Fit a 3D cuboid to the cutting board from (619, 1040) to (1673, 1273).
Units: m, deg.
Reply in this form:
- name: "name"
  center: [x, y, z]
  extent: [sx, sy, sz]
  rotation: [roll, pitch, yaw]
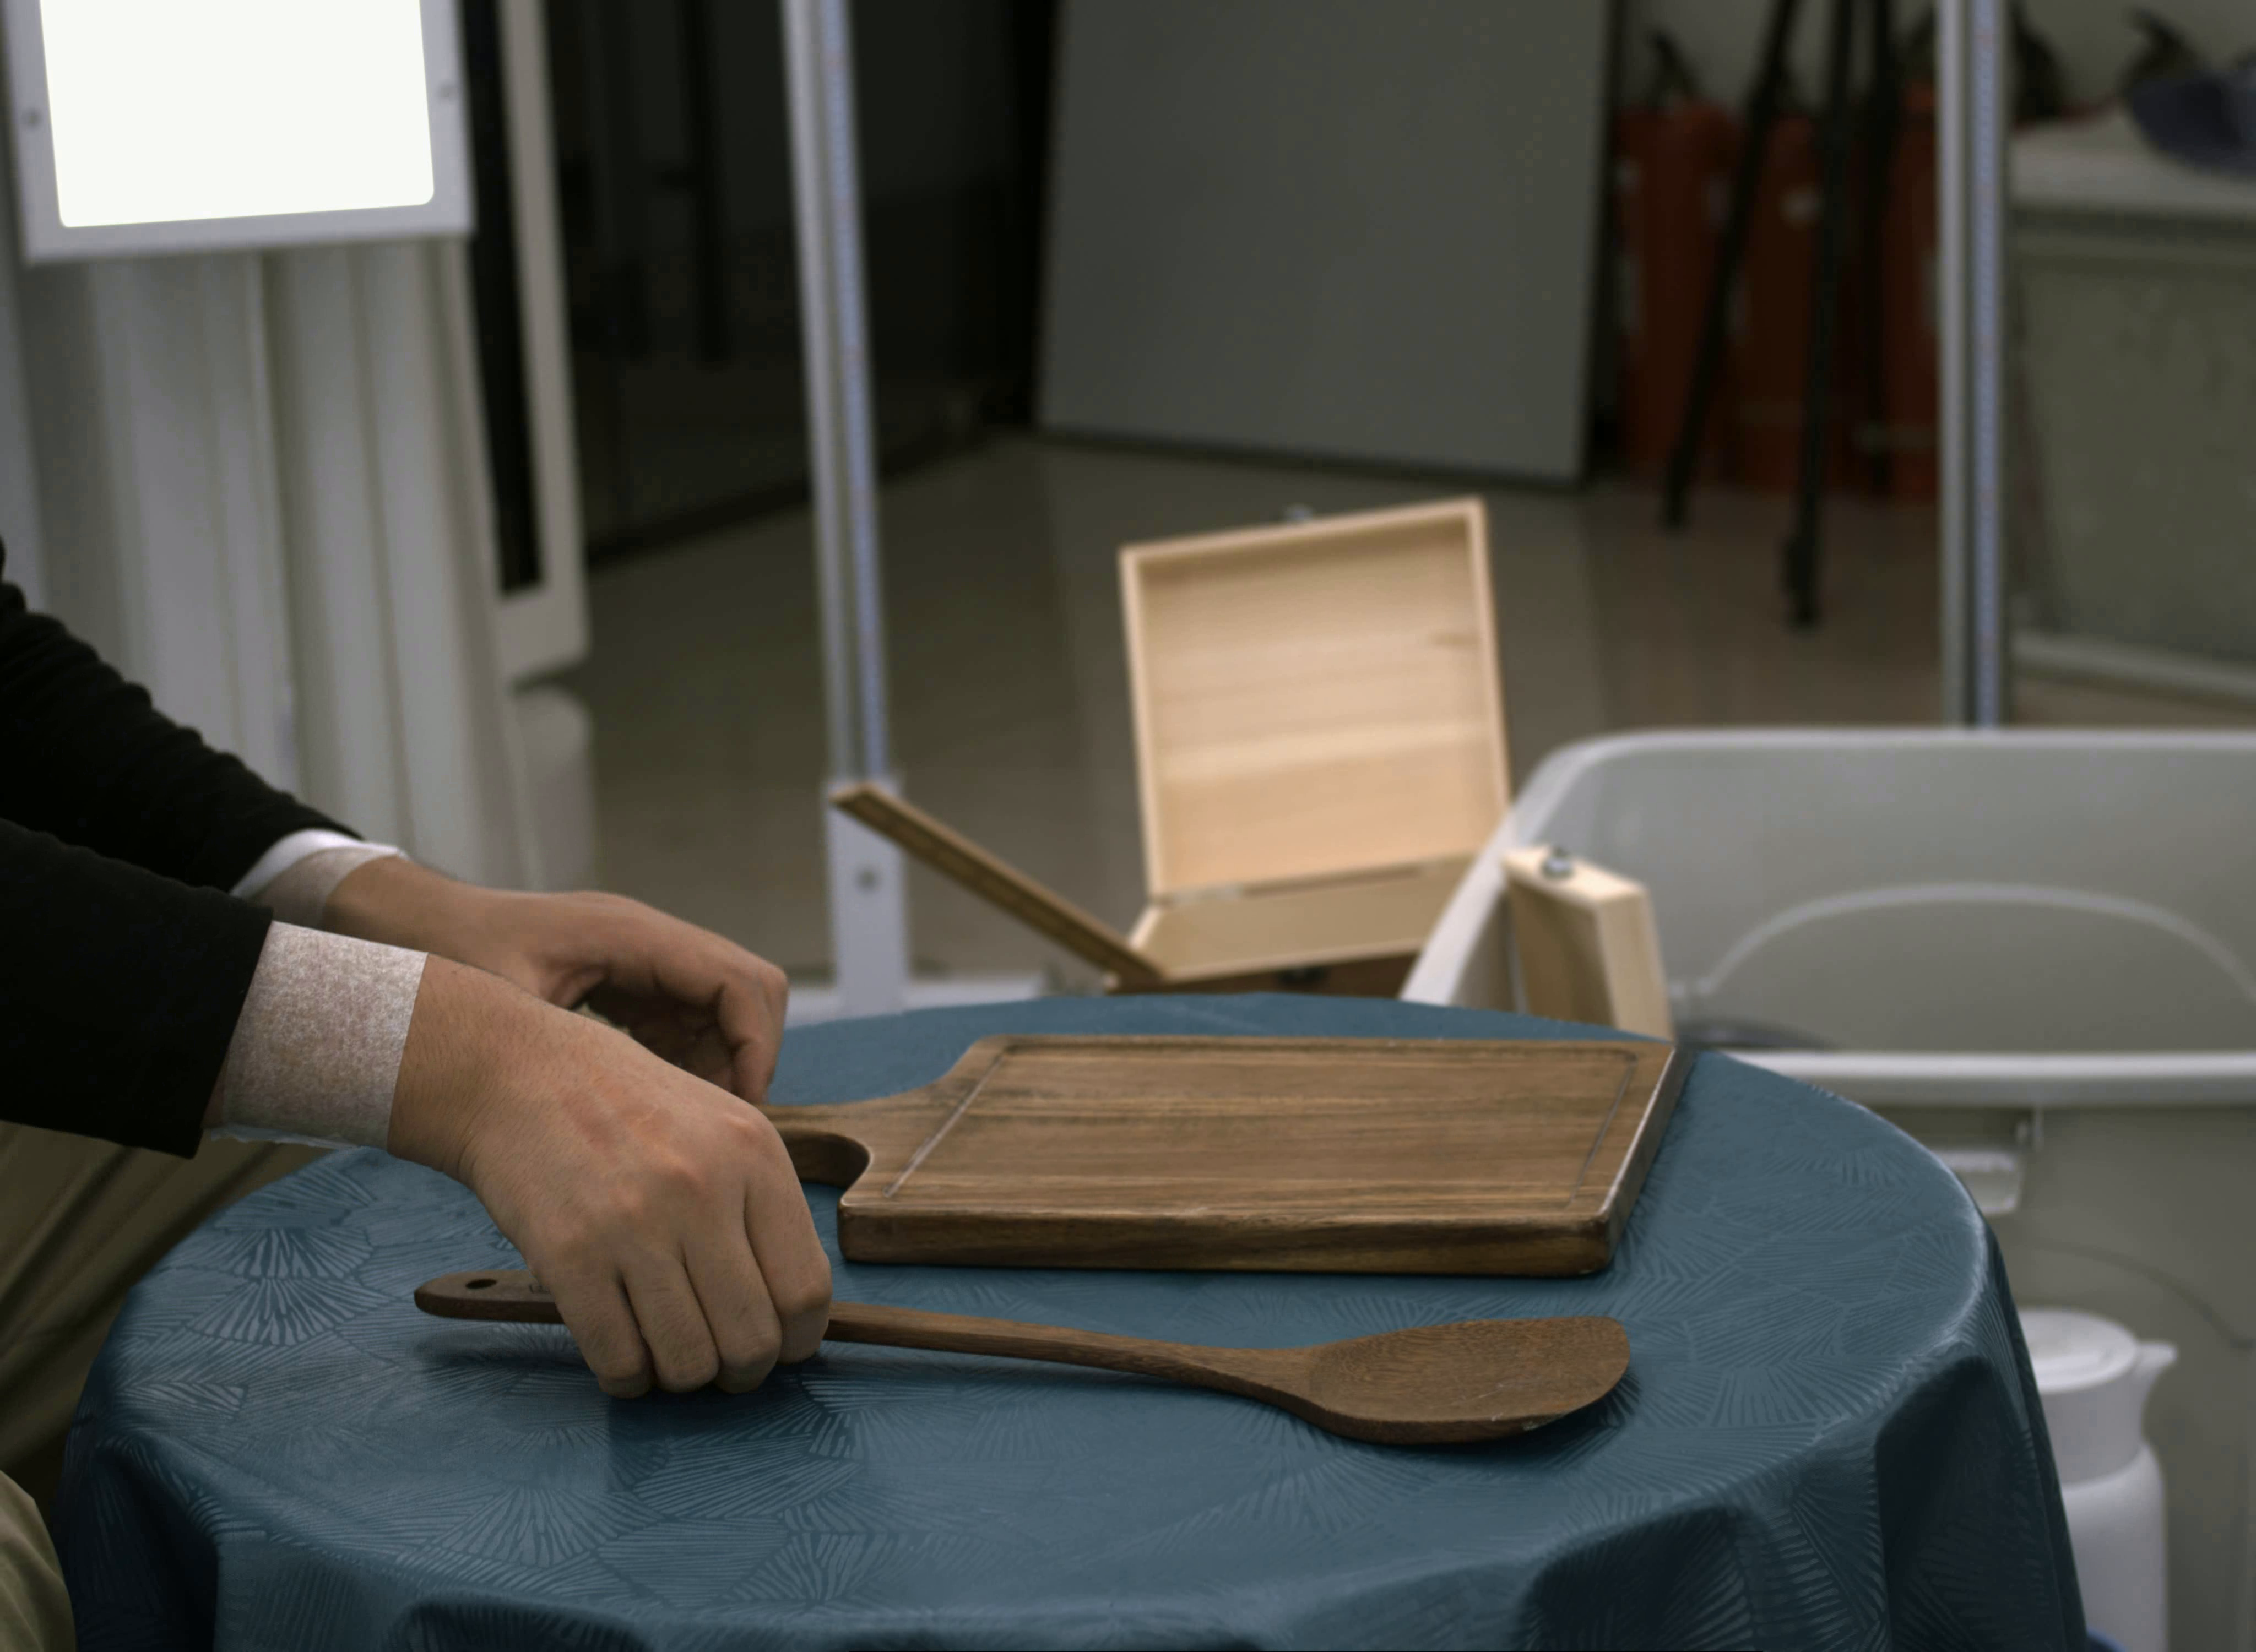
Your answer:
- name: "cutting board"
  center: [0.000, 0.107, 1.785]
  extent: [0.350, 0.023, 0.200]
  rotation: [-1, 14, 14]

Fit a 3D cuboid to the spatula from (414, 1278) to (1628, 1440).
- name: "spatula"
  center: [-0.039, 0.154, 1.606]
  extent: [0.385, 0.016, 0.095]
  rotation: [2, 14, 20]
